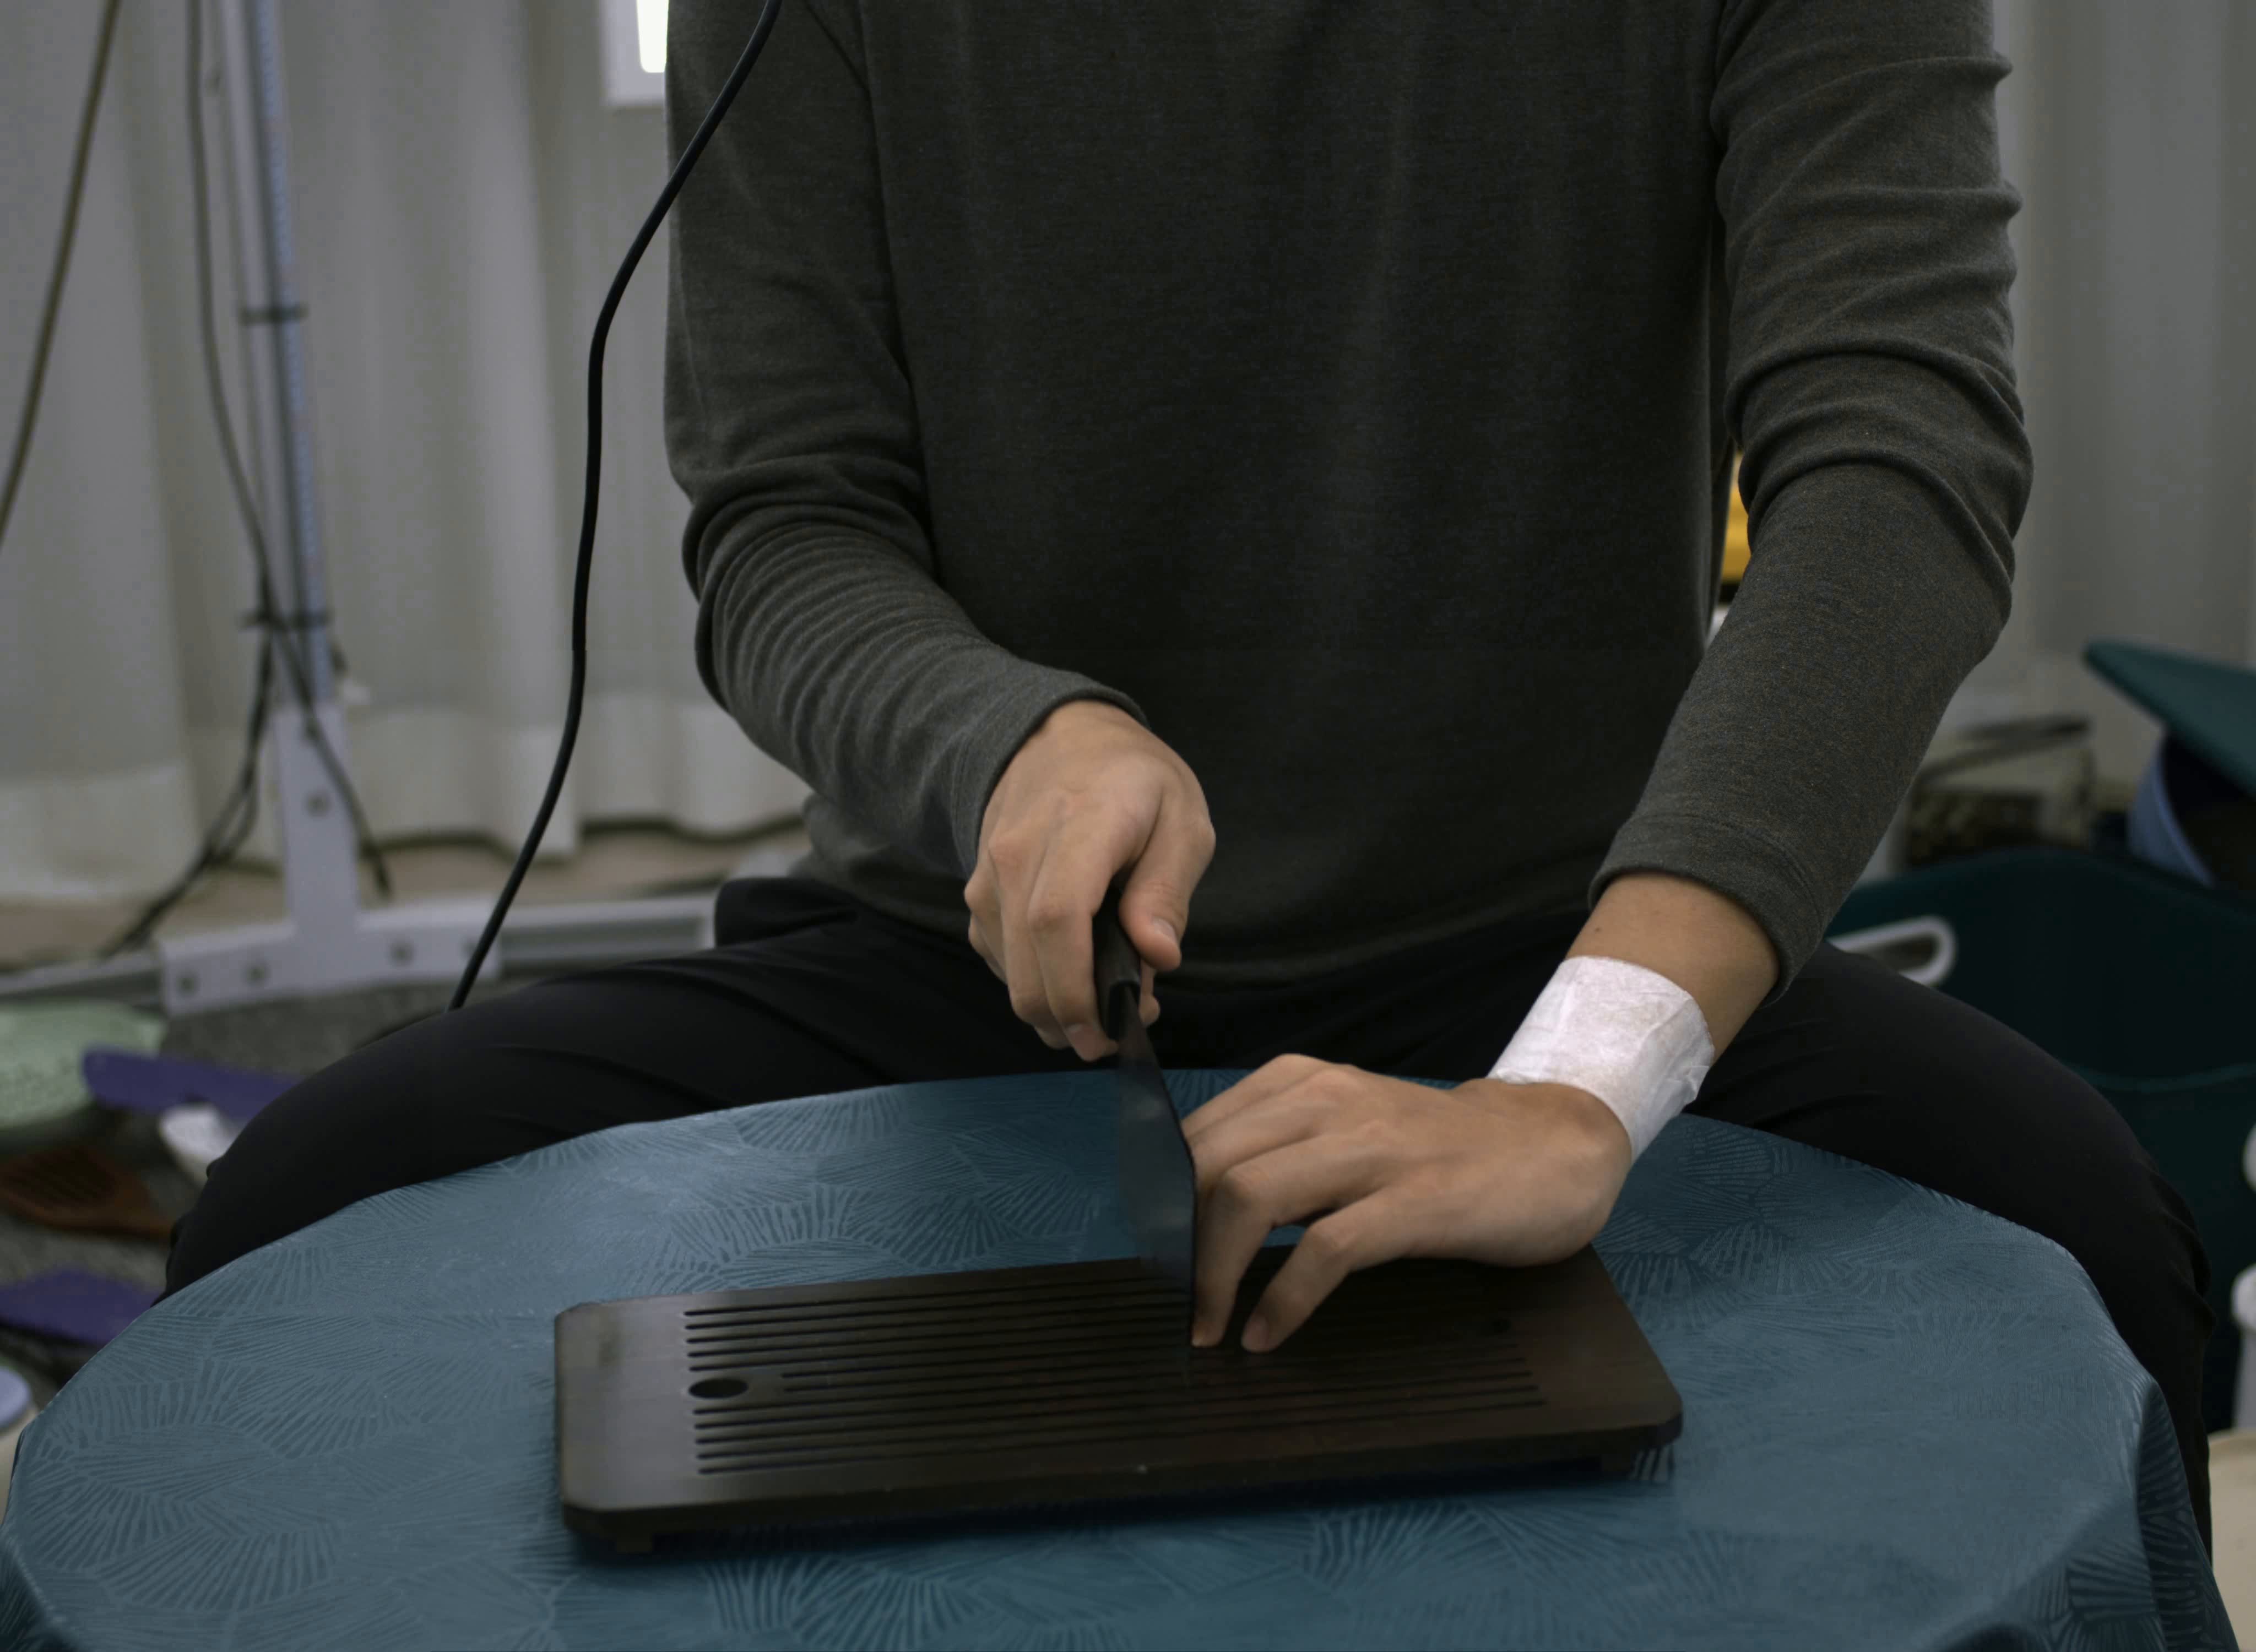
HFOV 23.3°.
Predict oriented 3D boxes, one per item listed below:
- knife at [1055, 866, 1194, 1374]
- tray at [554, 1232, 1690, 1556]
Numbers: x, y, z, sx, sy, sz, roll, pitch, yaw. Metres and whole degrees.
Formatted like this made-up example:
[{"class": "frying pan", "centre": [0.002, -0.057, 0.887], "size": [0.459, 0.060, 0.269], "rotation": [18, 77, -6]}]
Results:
[{"class": "knife", "centre": [0.001, 0.076, 1.586], "size": [0.021, 0.080, 0.305], "rotation": [1, 19, -6]}, {"class": "tray", "centre": [-0.007, 0.157, 1.523], "size": [0.305, 0.018, 0.171], "rotation": [-4, 14, -5]}]
